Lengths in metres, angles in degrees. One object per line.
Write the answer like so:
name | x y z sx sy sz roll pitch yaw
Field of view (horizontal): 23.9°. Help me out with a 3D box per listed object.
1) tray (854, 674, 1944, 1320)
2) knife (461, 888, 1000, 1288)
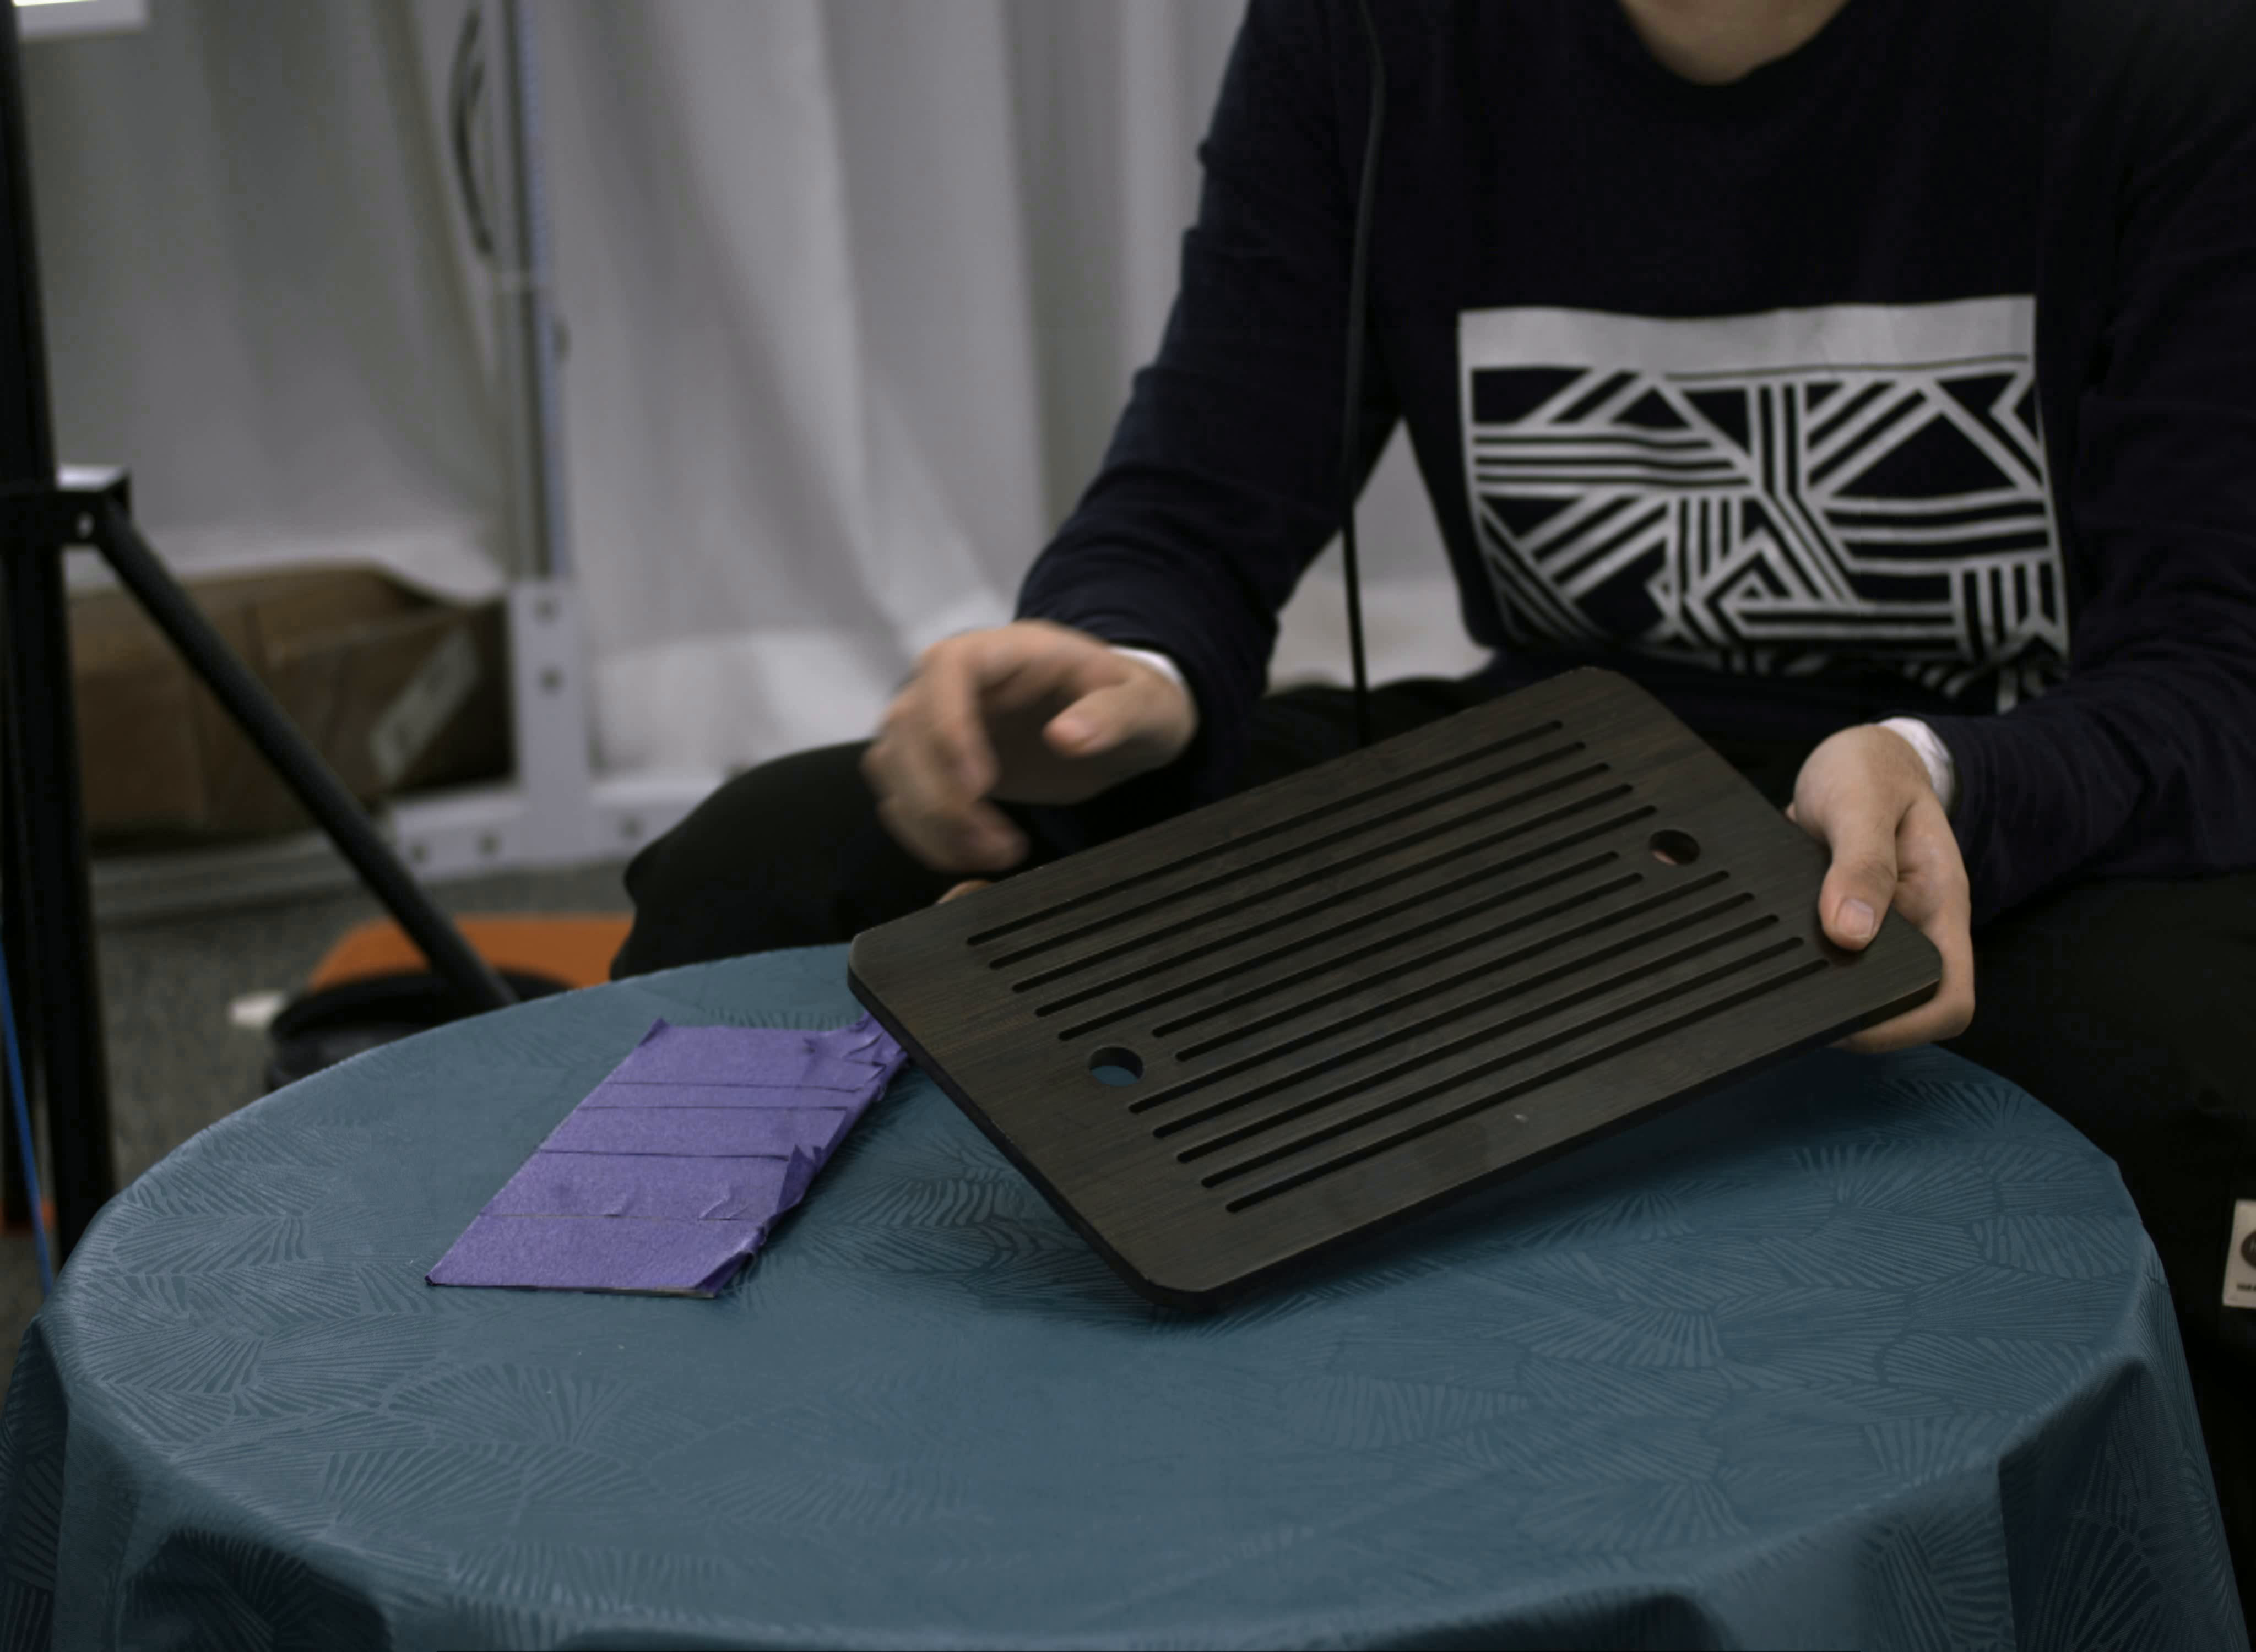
tray | 0.083 0.047 1.574 0.299 0.018 0.174 -20 47 -31
knife | -0.119 0.077 1.639 0.104 0.032 0.313 2 17 14
